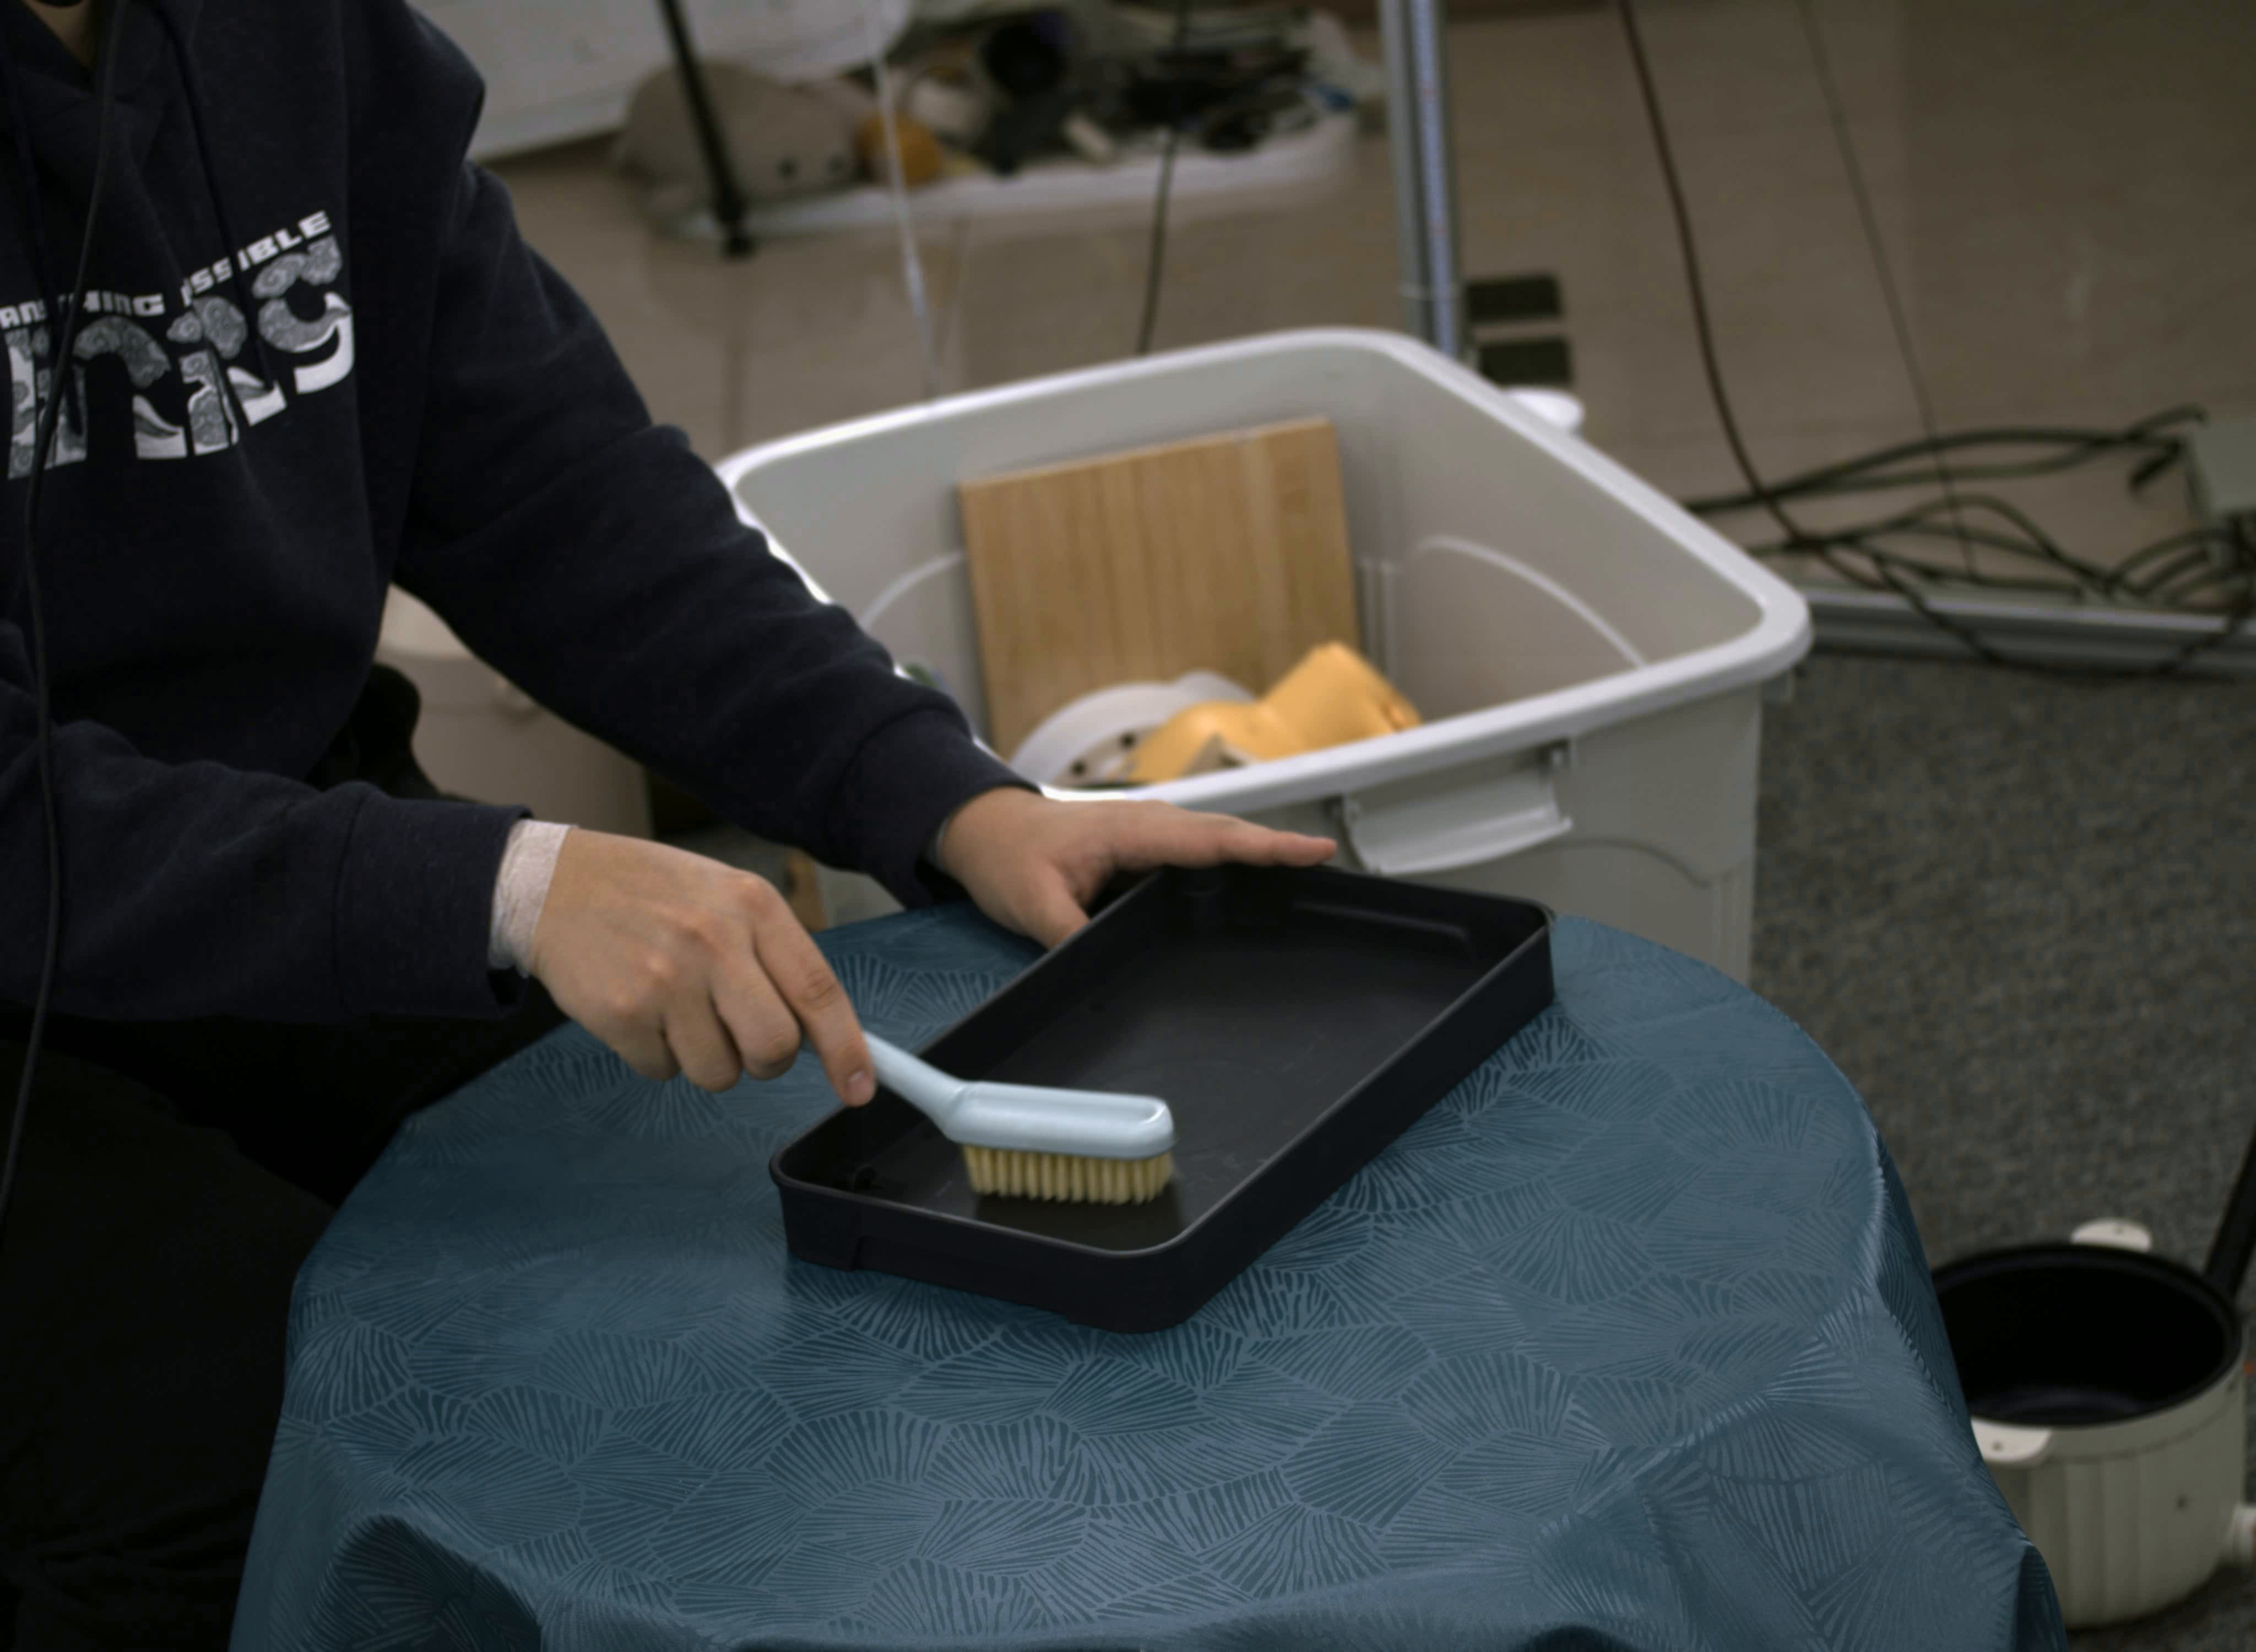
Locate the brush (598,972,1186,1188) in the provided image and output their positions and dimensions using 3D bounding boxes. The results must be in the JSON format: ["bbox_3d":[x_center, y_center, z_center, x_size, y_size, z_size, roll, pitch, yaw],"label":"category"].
[{"bbox_3d":[-0.091,0.097,2.151,0.228,0.050,0.037,14,32,5],"label":"brush"}]

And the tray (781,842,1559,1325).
[{"bbox_3d":[0.023,0.094,2.198,0.183,0.037,0.314,9,29,31],"label":"tray"}]
